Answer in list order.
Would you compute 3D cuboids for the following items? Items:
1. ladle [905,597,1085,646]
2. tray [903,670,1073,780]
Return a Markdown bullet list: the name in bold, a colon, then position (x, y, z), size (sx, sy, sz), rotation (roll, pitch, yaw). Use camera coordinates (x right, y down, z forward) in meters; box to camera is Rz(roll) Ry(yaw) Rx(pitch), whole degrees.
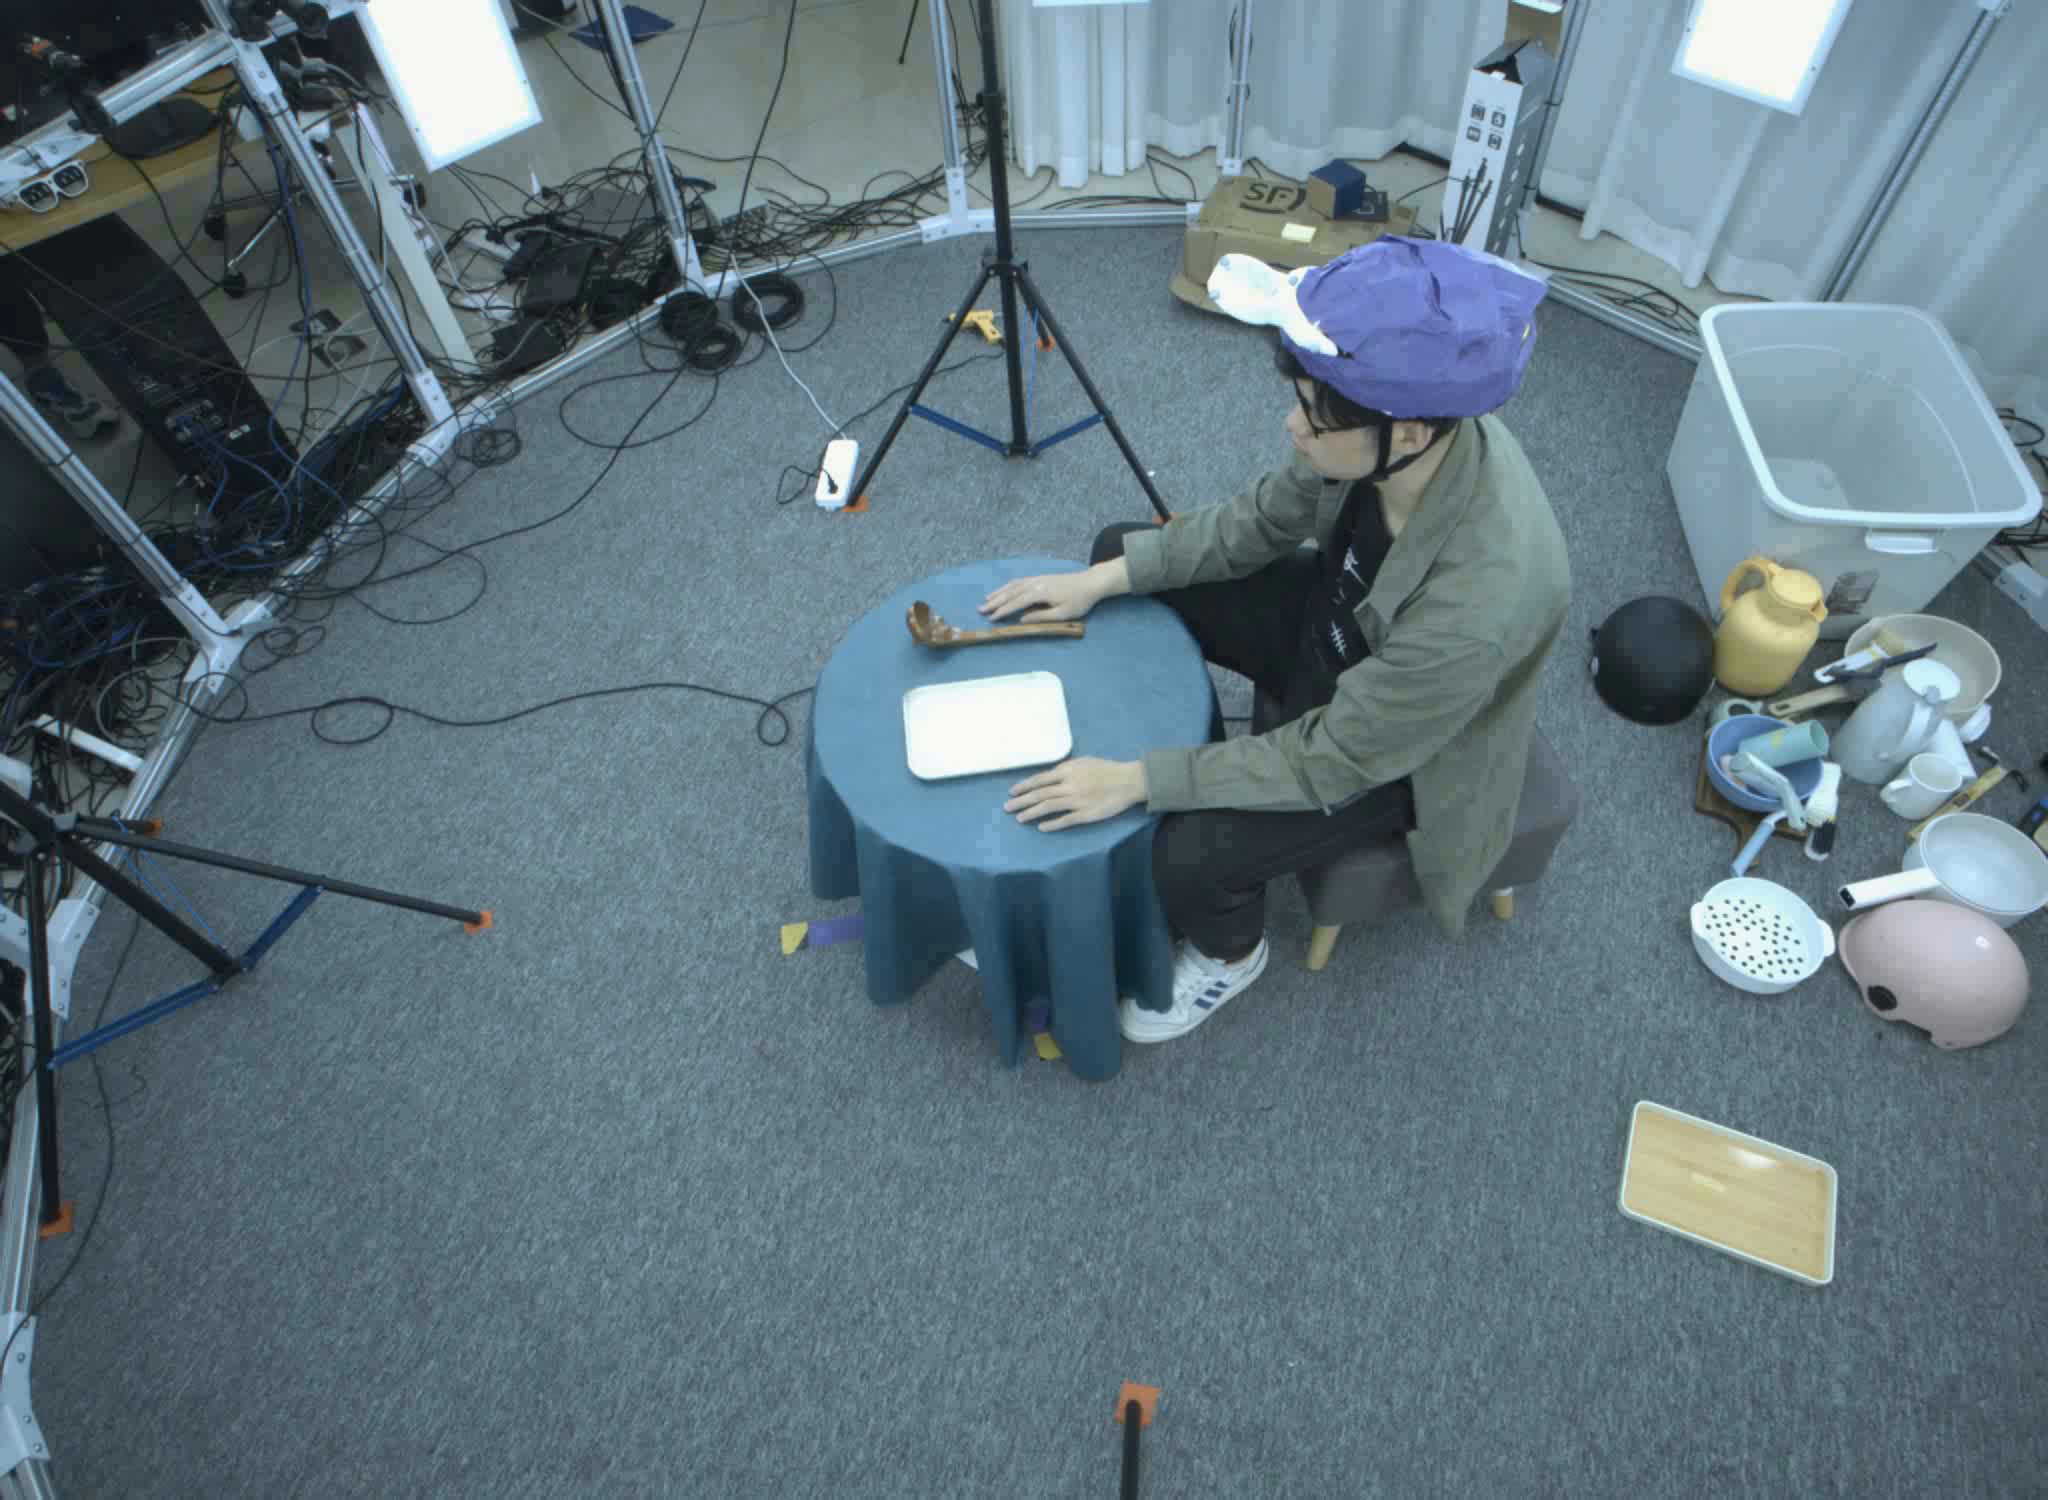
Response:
- **ladle**: position (-0.045, -0.199, 1.888), size (0.274, 0.077, 0.081), rotation (-2, 50, 0)
- **tray**: position (-0.055, -0.036, 1.809), size (0.240, 0.017, 0.169), rotation (-7, 55, -4)
